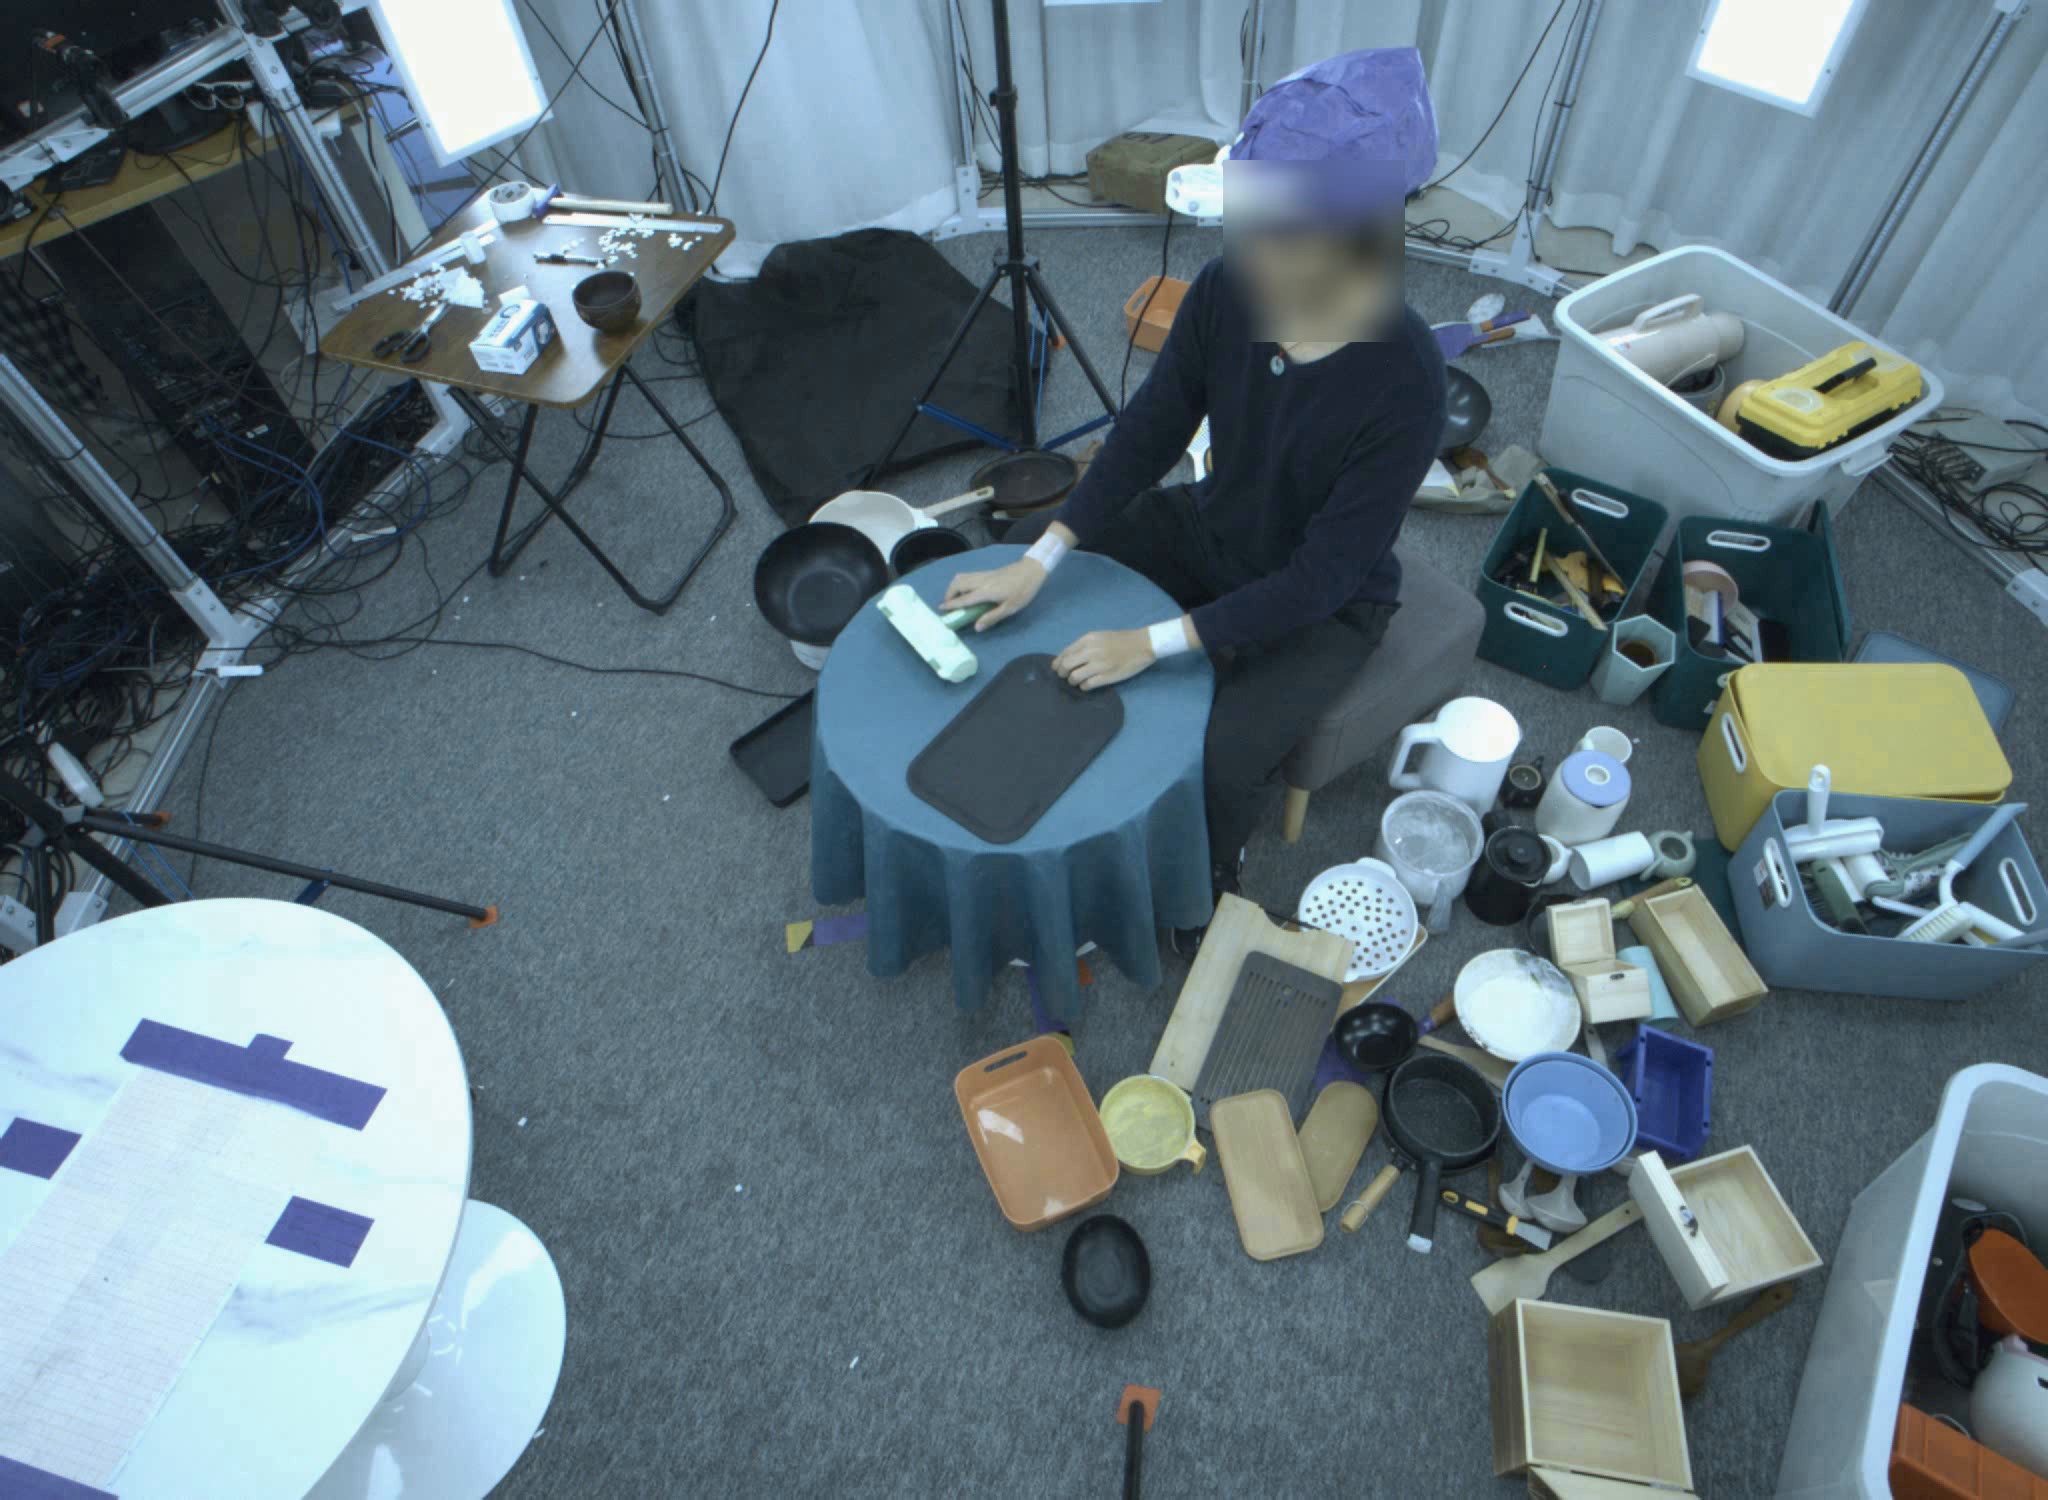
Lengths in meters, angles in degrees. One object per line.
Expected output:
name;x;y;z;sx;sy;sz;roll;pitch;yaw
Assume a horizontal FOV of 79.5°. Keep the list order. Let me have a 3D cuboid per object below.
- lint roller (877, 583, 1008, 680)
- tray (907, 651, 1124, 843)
lint roller;-0.104;-0.219;1.892;0.184;0.083;0.195;-36;62;-13
tray;-0.007;-0.018;1.789;0.208;0.010;0.327;33;65;21
